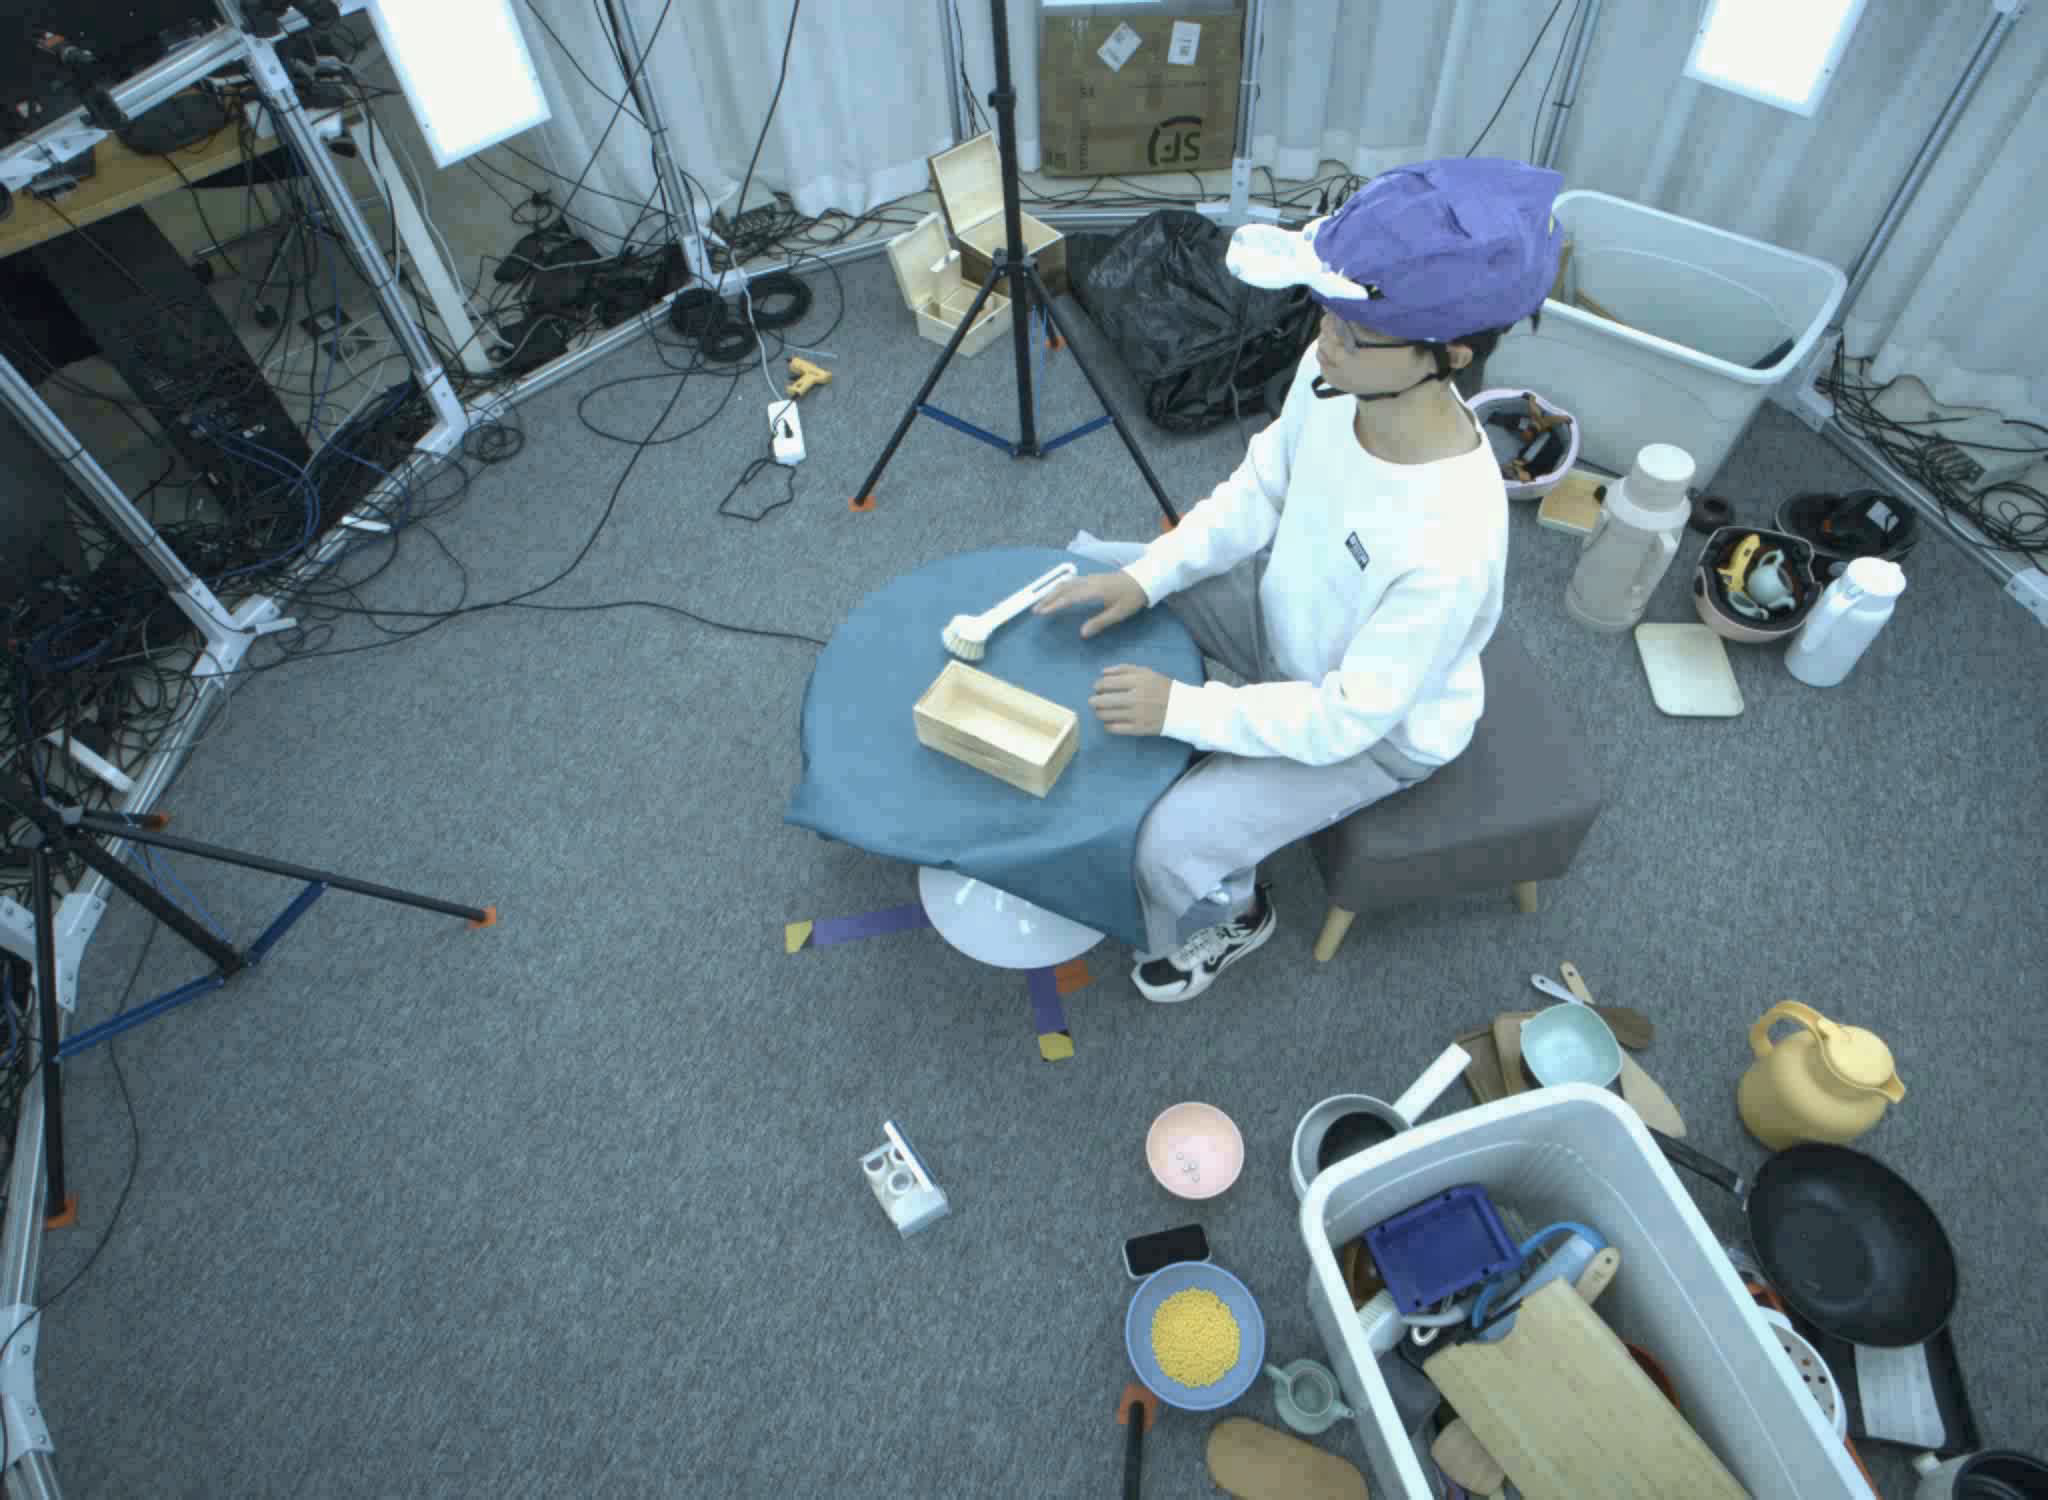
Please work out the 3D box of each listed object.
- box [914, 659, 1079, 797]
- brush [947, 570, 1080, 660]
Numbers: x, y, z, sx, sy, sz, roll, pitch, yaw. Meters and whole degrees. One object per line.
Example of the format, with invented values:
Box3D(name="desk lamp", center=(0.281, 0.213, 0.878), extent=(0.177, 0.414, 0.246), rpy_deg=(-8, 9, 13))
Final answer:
Box3D(name="box", center=(-0.039, -0.033, 1.760), extent=(0.208, 0.081, 0.108), rpy_deg=(24, 58, 18))
Box3D(name="brush", center=(-0.013, -0.216, 1.932), extent=(0.270, 0.056, 0.068), rpy_deg=(-32, 79, -36))
